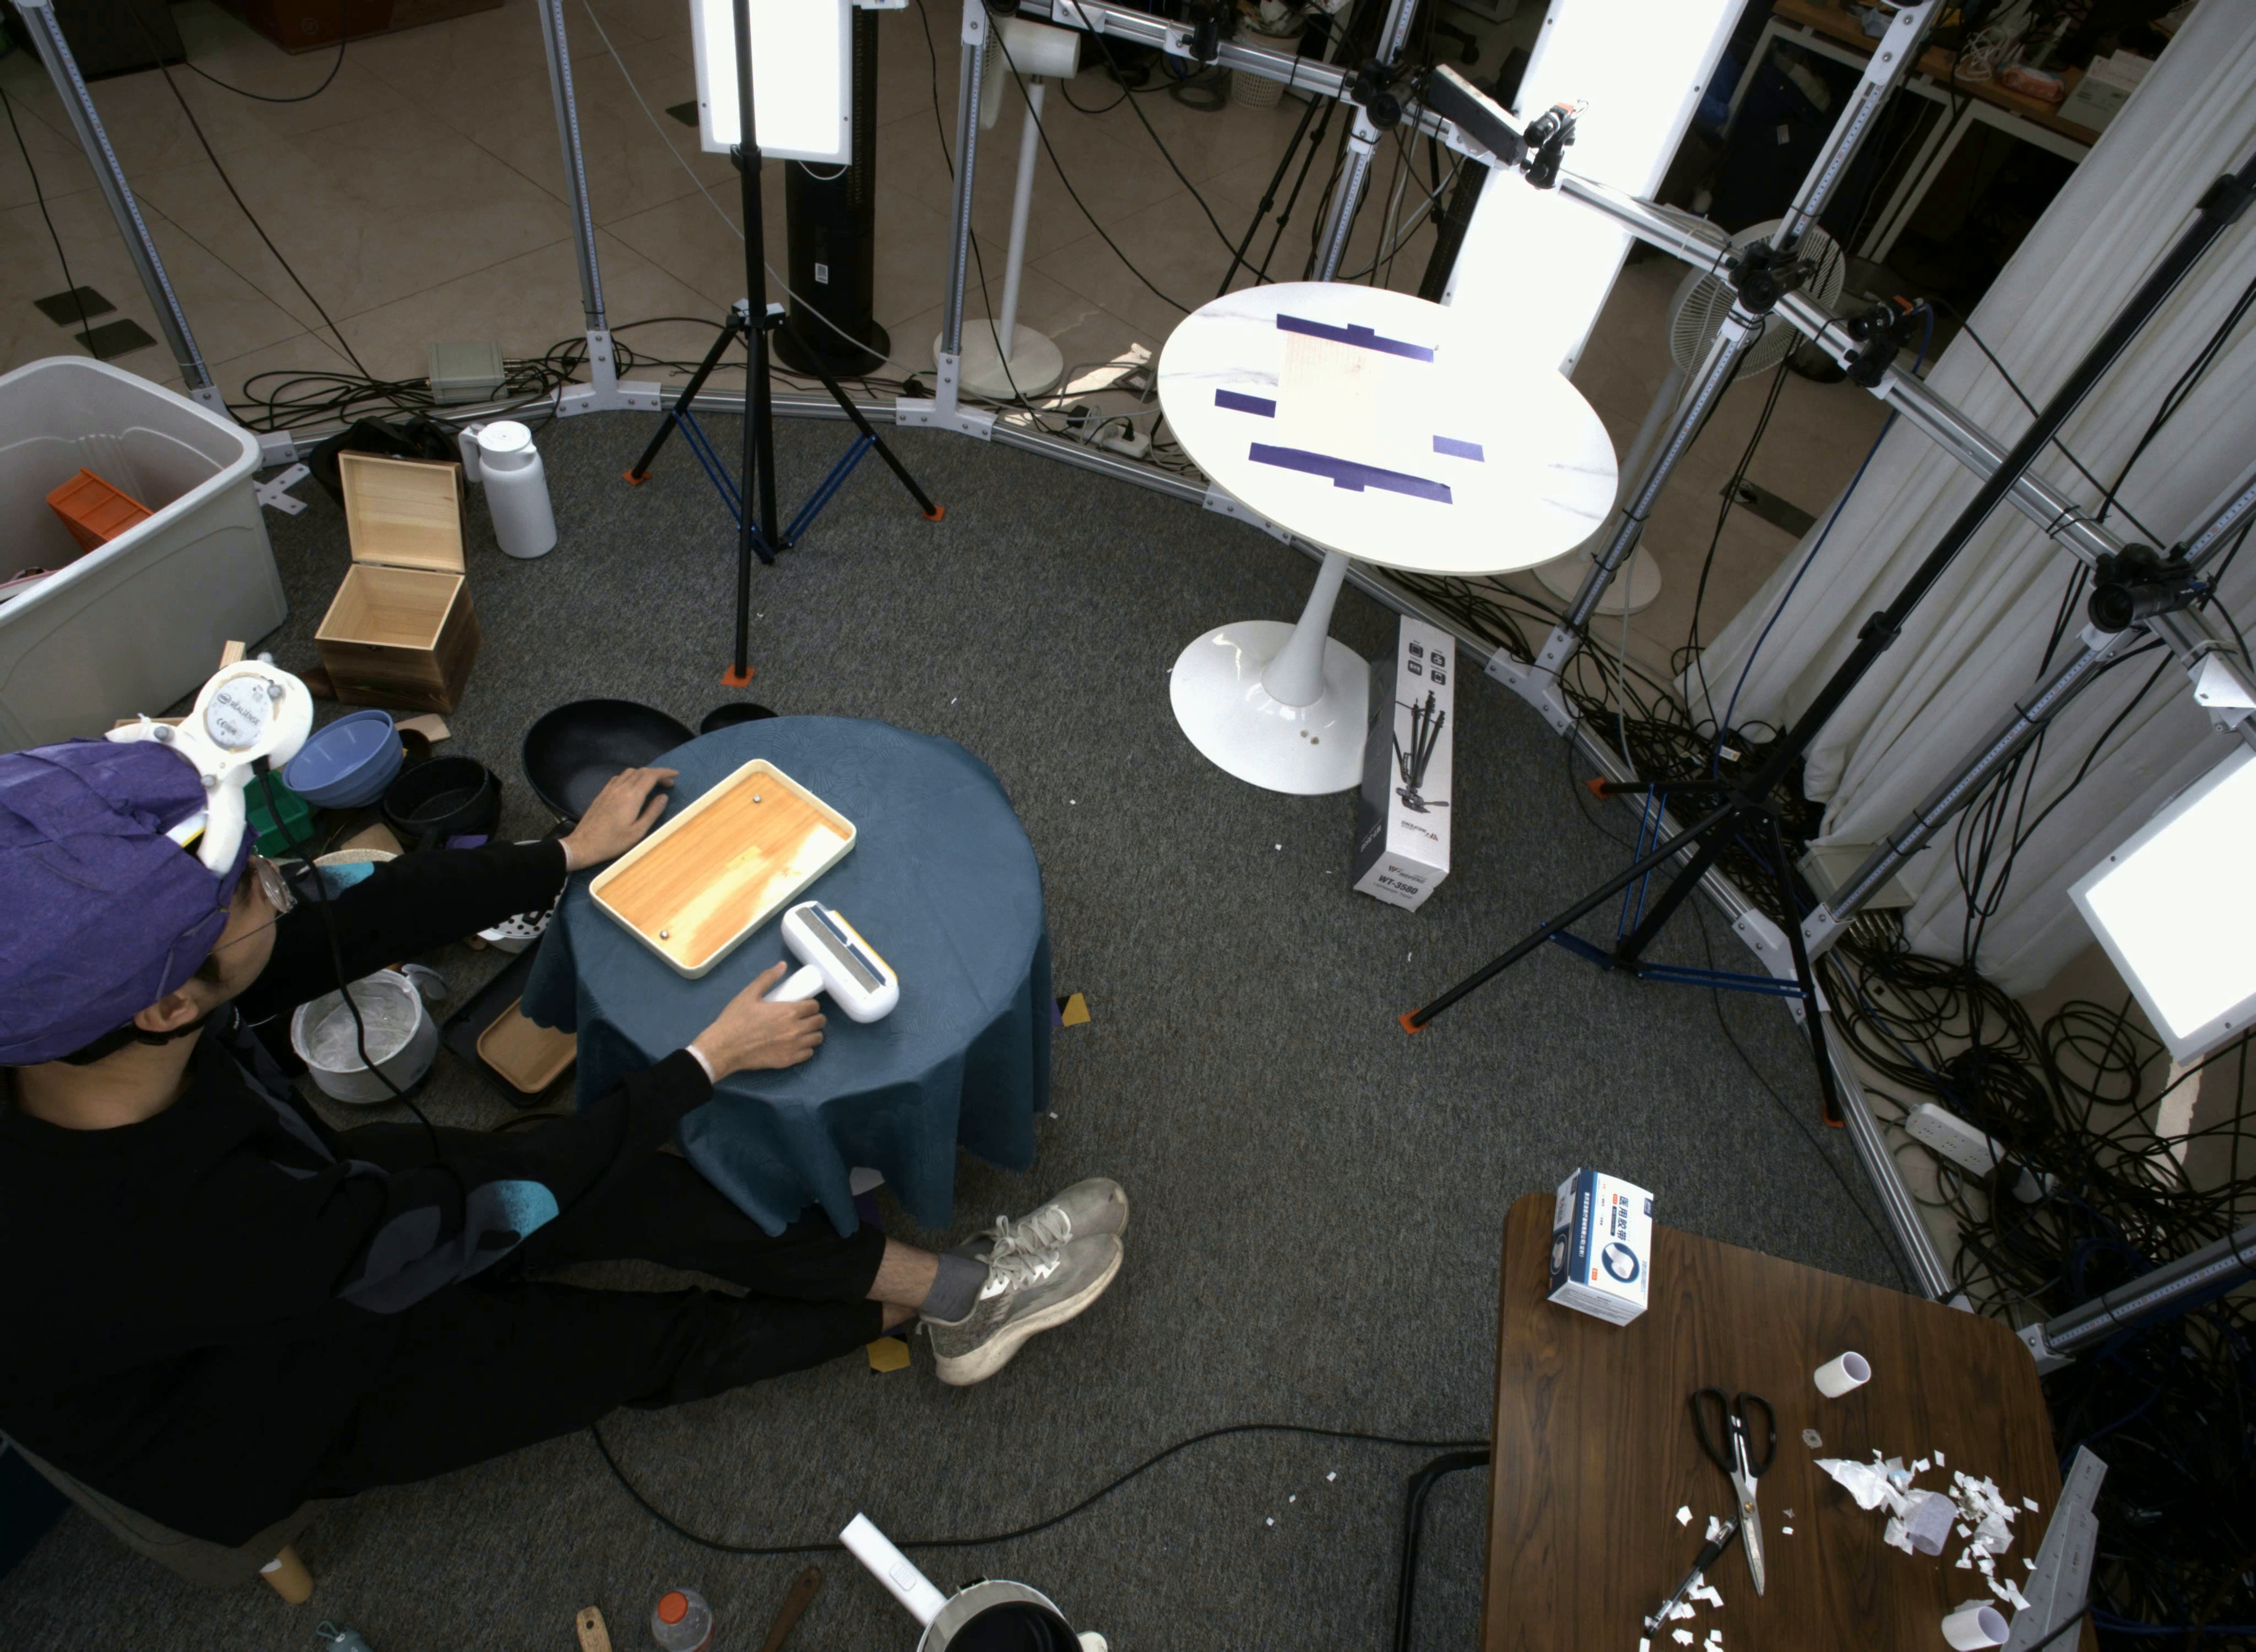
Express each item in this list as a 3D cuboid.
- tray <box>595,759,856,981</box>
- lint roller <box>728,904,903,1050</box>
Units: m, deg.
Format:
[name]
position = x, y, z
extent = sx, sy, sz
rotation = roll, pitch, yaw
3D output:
[tray]
position = -0.513, 0.047, 1.655
extent = 0.188, 0.028, 0.300
rotation = 35, 53, 13
[lint roller]
position = -0.391, 0.196, 1.550
extent = 0.193, 0.076, 0.187
rotation = -28, 60, -28
